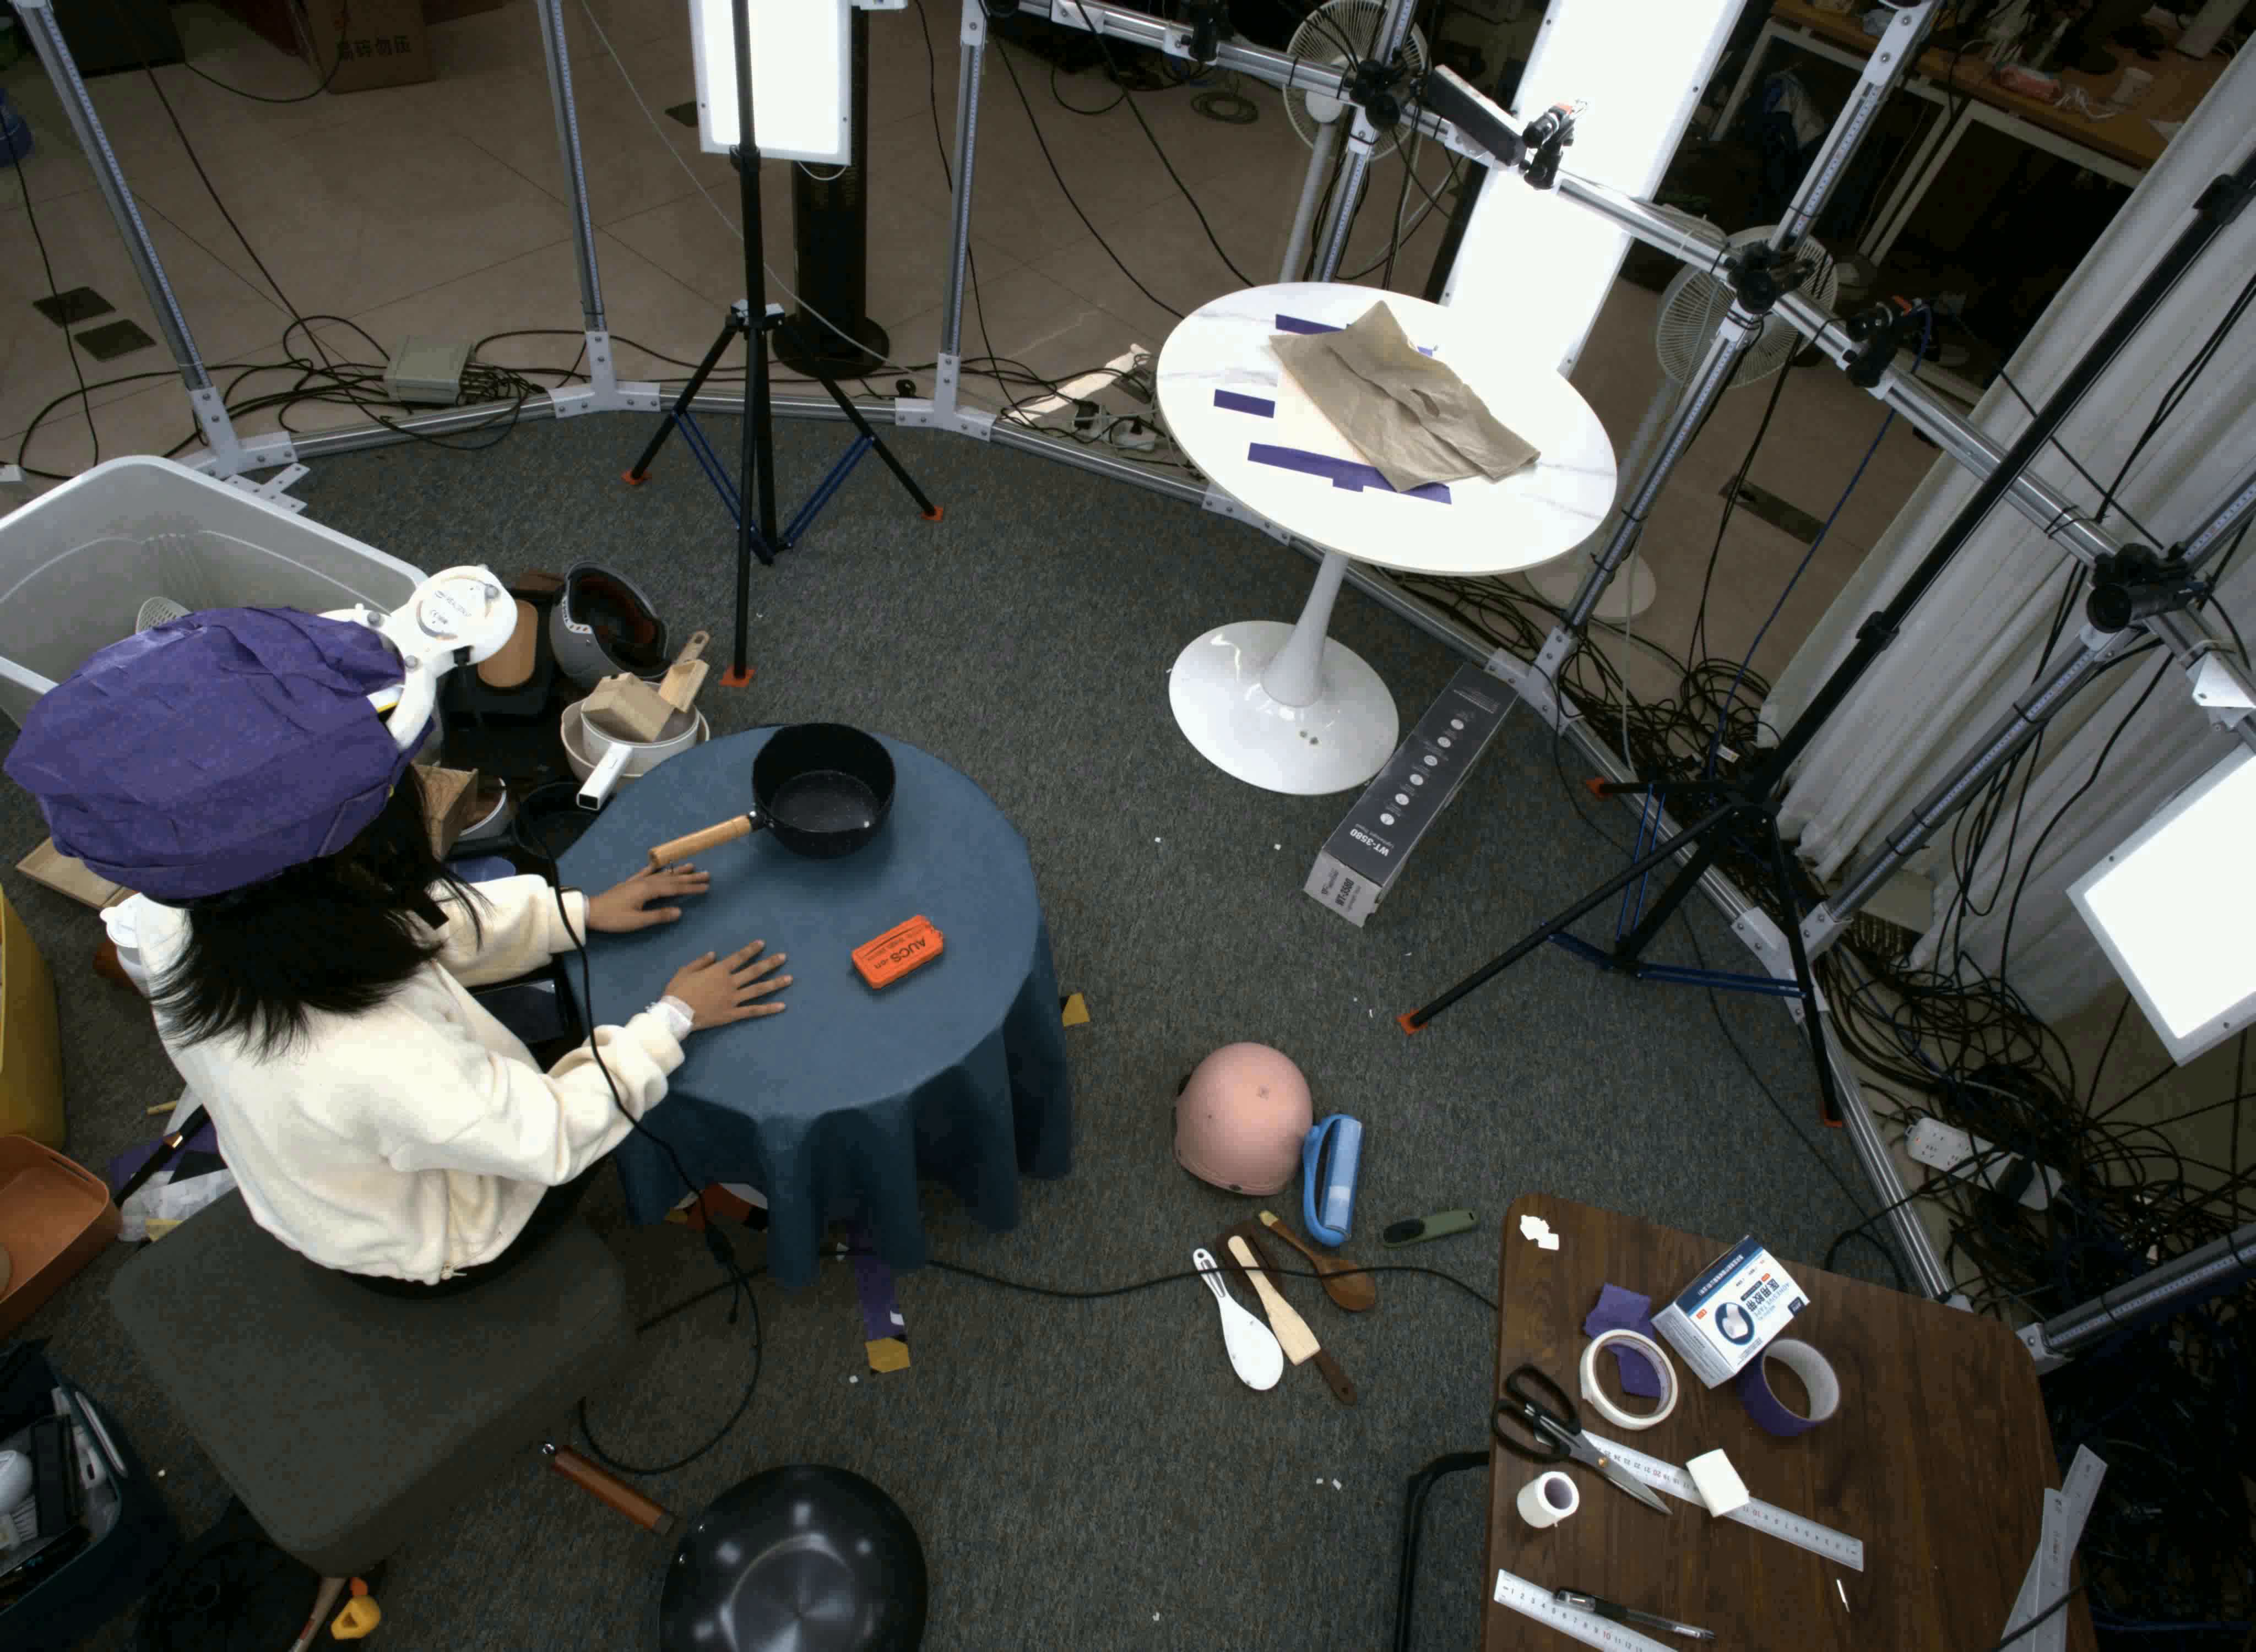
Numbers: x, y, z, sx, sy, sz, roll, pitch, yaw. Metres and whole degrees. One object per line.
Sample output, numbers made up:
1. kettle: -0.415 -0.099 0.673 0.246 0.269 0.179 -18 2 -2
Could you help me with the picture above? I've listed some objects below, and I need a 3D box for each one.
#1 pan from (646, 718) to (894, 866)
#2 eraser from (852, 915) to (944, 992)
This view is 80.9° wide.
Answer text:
1. pan: -0.455 -0.012 1.650 0.203 0.110 0.344 43 54 17
2. eraser: -0.287 0.156 1.623 0.108 0.023 0.057 -30 67 -31
